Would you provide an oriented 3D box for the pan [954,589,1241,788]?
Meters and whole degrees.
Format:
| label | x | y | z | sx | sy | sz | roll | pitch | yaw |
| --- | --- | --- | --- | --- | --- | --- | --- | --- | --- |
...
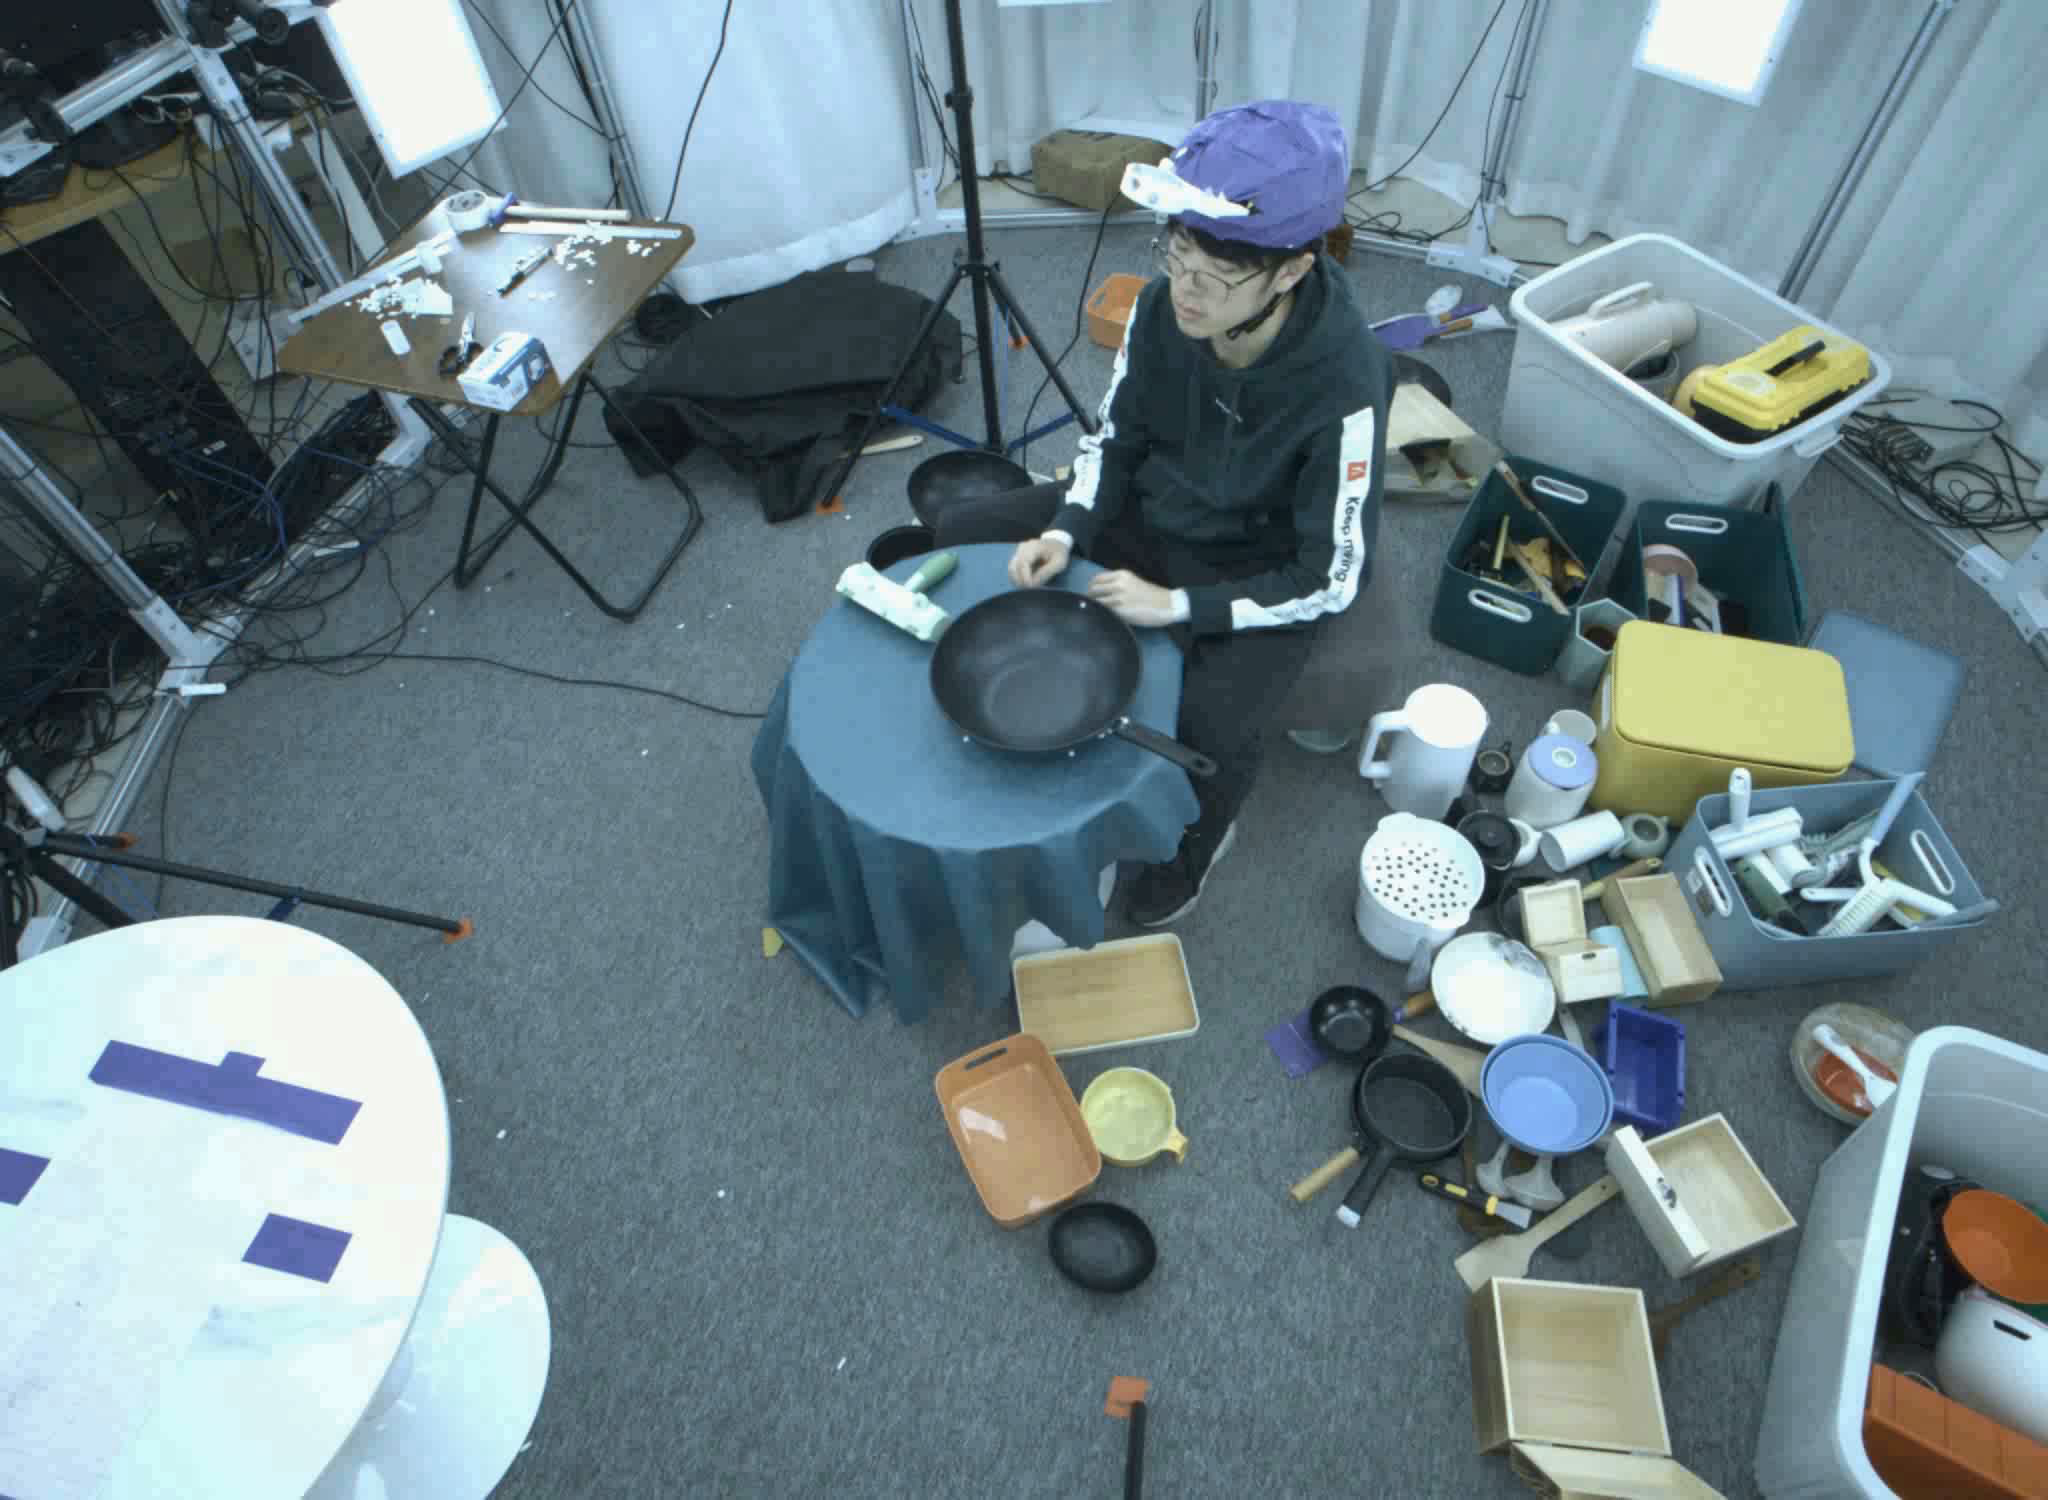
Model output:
| label | x | y | z | sx | sy | sz | roll | pitch | yaw |
| --- | --- | --- | --- | --- | --- | --- | --- | --- | --- |
| pan | 0.115 | -0.056 | 1.753 | 0.468 | 0.113 | 0.312 | 37 | 65 | 25 |

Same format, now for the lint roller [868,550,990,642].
| label | x | y | z | sx | sy | sz | roll | pitch | yaw |
| --- | --- | --- | --- | --- | --- | --- | --- | --- | --- |
| lint roller | -0.121 | -0.275 | 1.936 | 0.195 | 0.083 | 0.184 | 33 | 67 | 23 |
